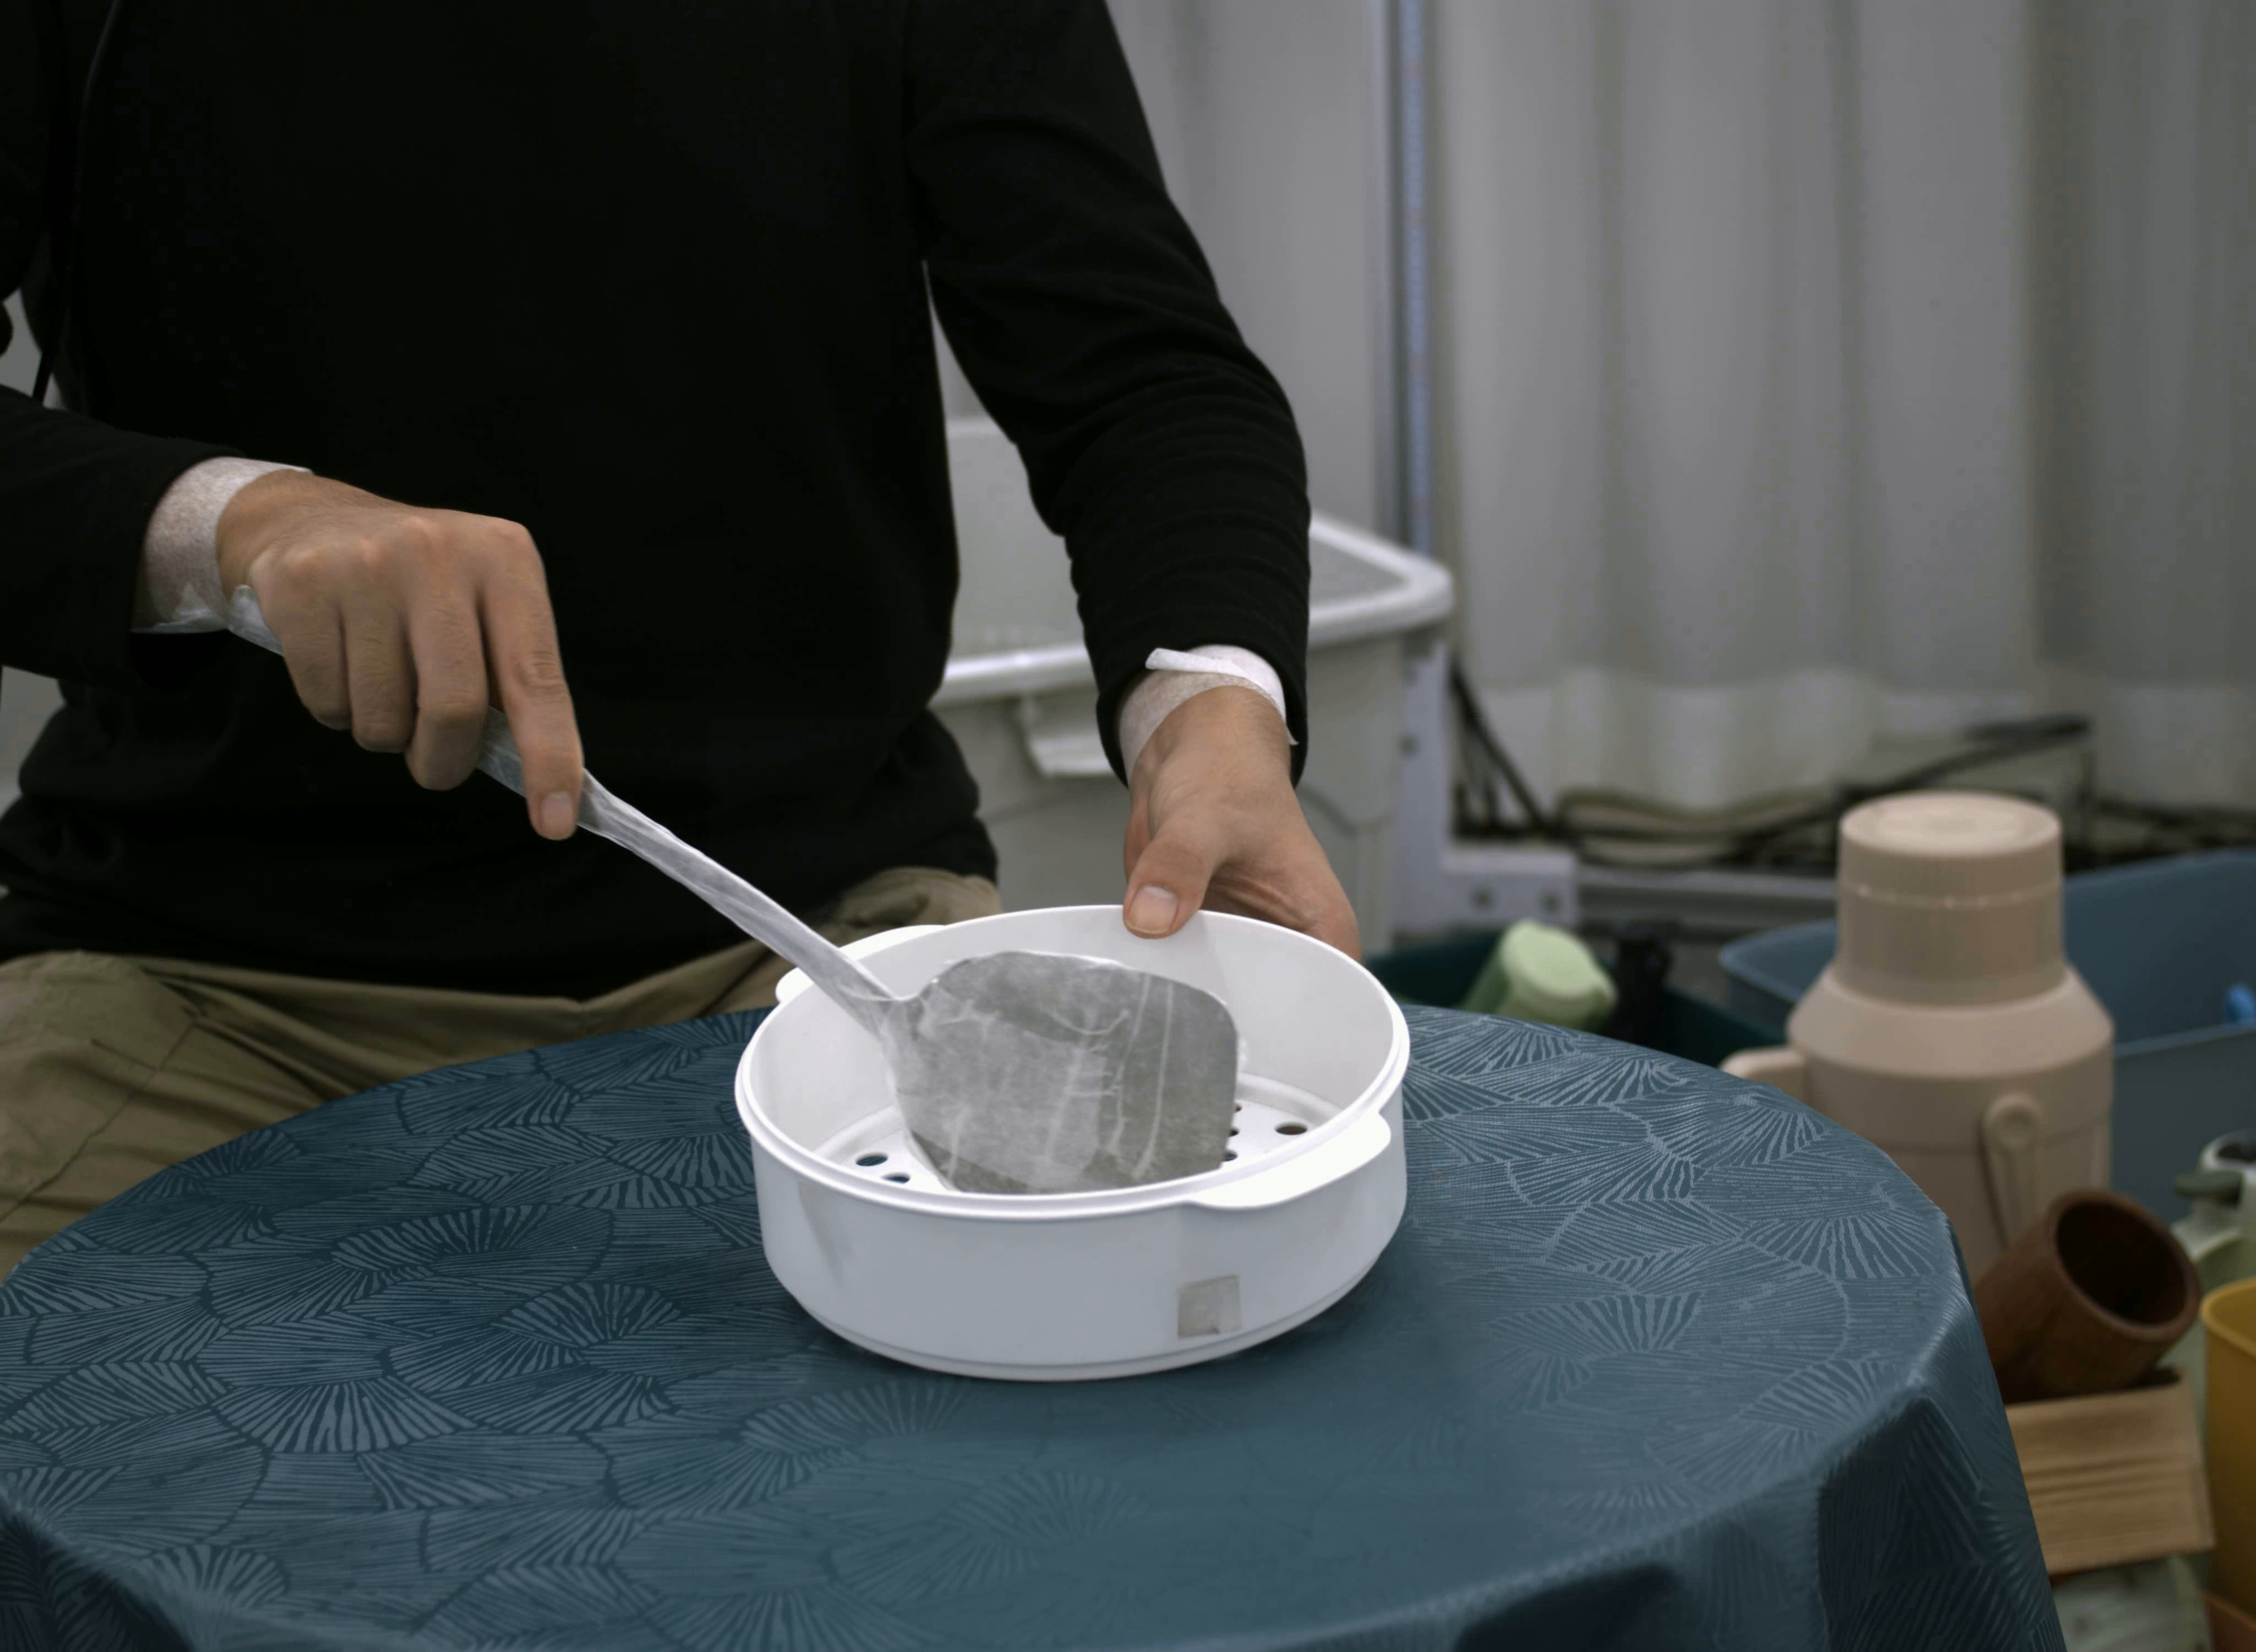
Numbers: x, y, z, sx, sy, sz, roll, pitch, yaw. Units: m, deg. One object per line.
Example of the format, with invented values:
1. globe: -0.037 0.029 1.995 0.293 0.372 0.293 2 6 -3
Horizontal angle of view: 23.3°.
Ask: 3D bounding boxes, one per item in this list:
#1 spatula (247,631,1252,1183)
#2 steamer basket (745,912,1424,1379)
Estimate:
1. spatula: -0.120 0.018 1.644 0.367 0.098 0.045 31 33 26
2. steamer basket: -0.011 0.094 1.622 0.201 0.069 0.232 -20 28 -35
